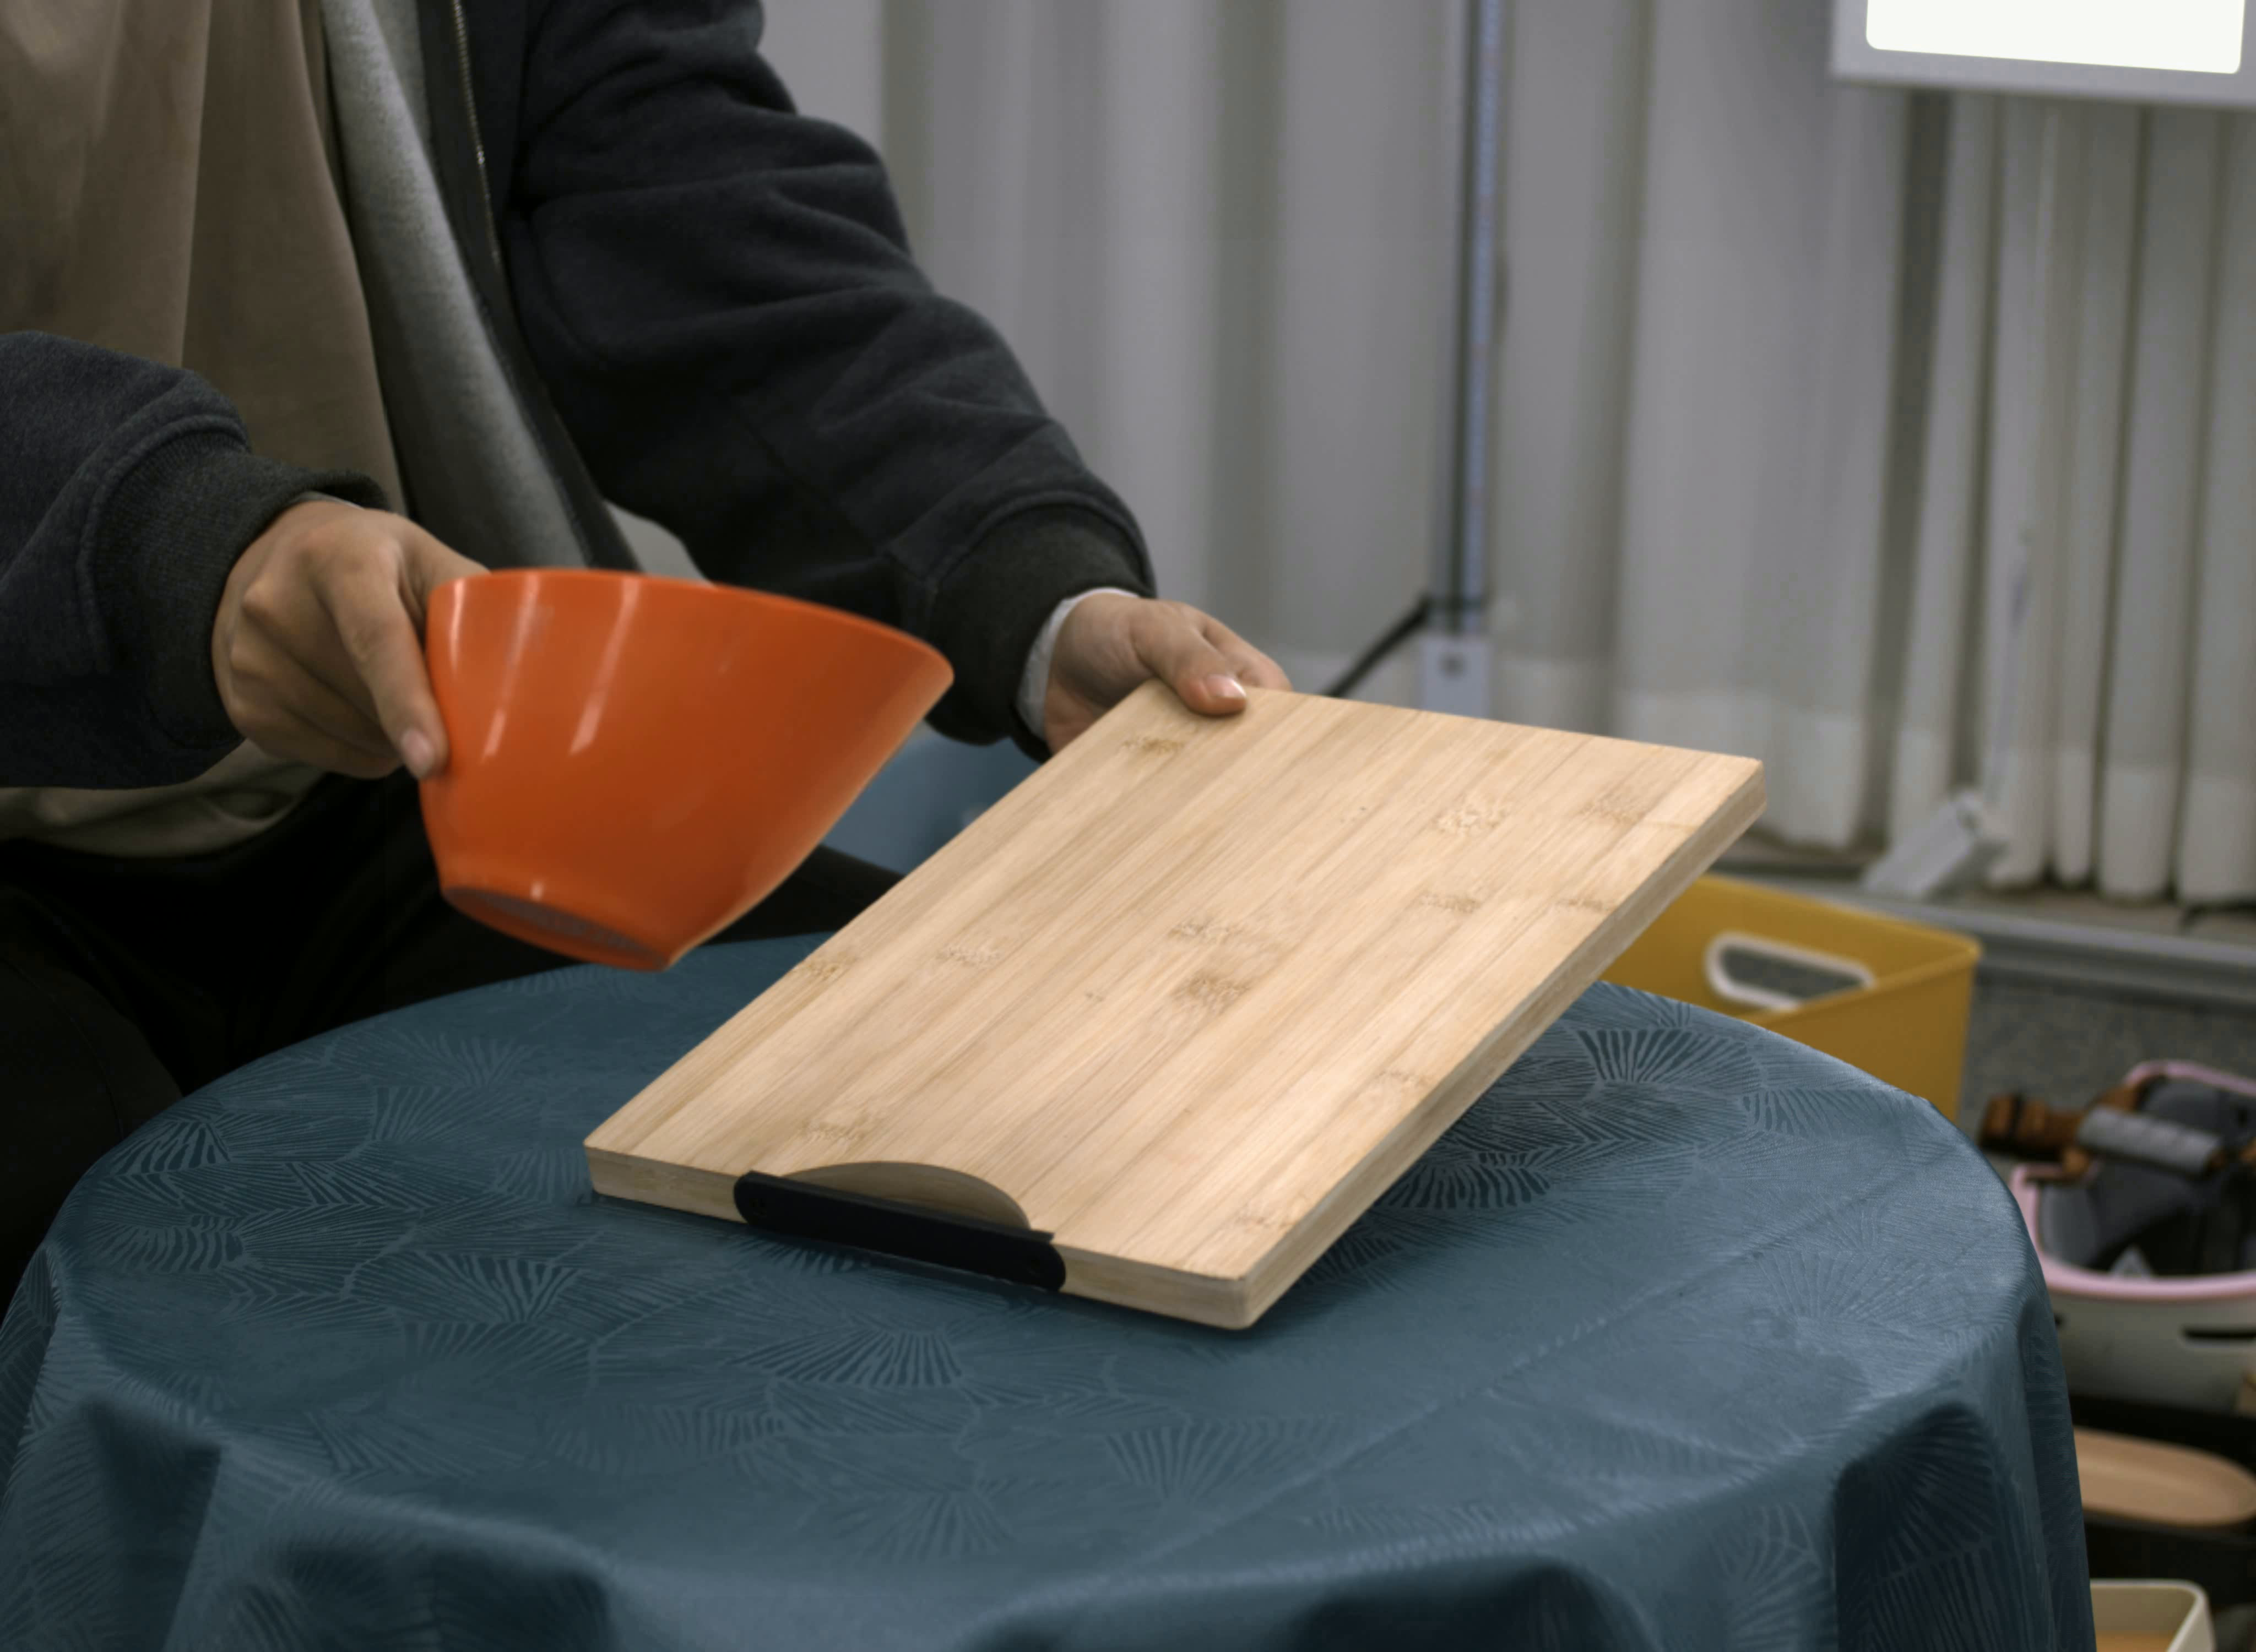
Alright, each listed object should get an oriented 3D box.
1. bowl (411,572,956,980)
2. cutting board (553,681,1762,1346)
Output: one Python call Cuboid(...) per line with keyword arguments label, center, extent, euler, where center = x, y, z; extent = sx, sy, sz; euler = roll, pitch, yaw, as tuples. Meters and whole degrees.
Cuboid(label="bowl", center=(-0.134, -0.013, 1.461), extent=(0.147, 0.104, 0.148), euler=(18, -10, 4))
Cuboid(label="cutting board", center=(0.018, 0.049, 1.671), extent=(0.248, 0.024, 0.348), euler=(9, 31, 31))
